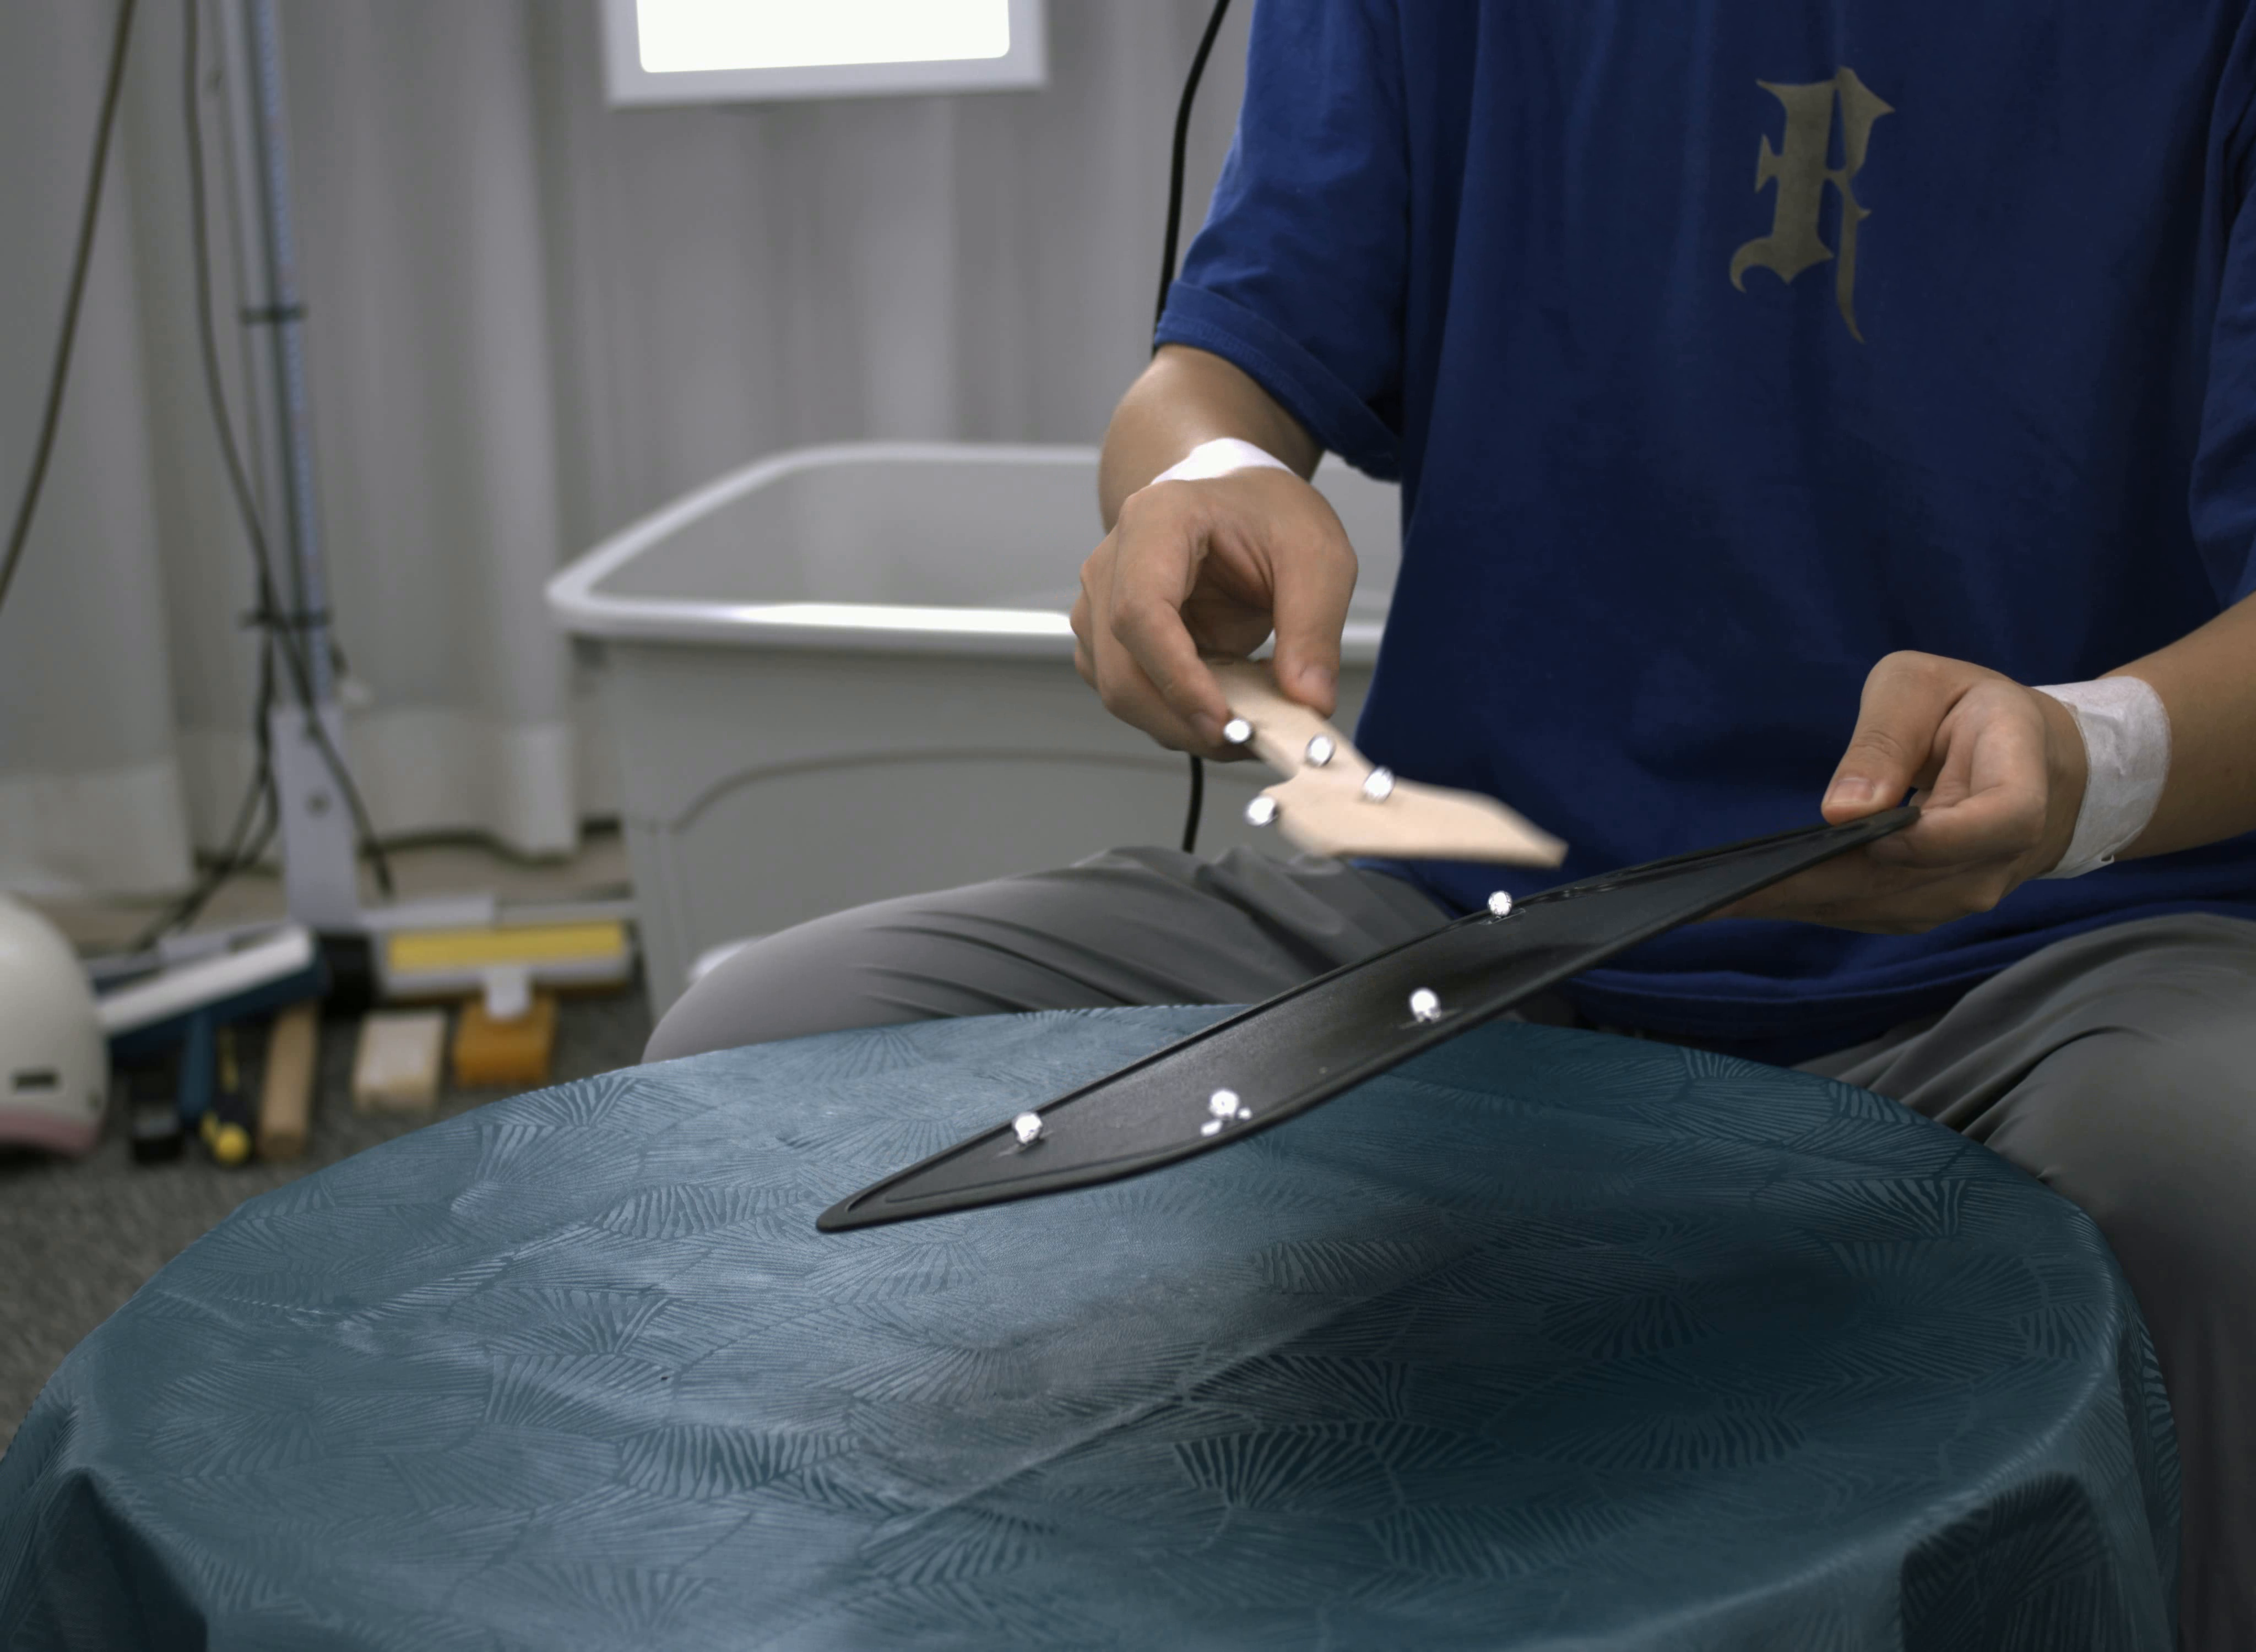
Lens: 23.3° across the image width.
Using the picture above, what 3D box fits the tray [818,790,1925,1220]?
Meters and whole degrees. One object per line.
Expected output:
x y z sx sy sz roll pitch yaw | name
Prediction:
0.075 0.047 1.546 0.325 0.010 0.211 -23 4 -36 | tray

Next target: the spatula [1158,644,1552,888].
0.053 -0.021 1.655 0.072 0.010 0.295 5 13 -15 | spatula
